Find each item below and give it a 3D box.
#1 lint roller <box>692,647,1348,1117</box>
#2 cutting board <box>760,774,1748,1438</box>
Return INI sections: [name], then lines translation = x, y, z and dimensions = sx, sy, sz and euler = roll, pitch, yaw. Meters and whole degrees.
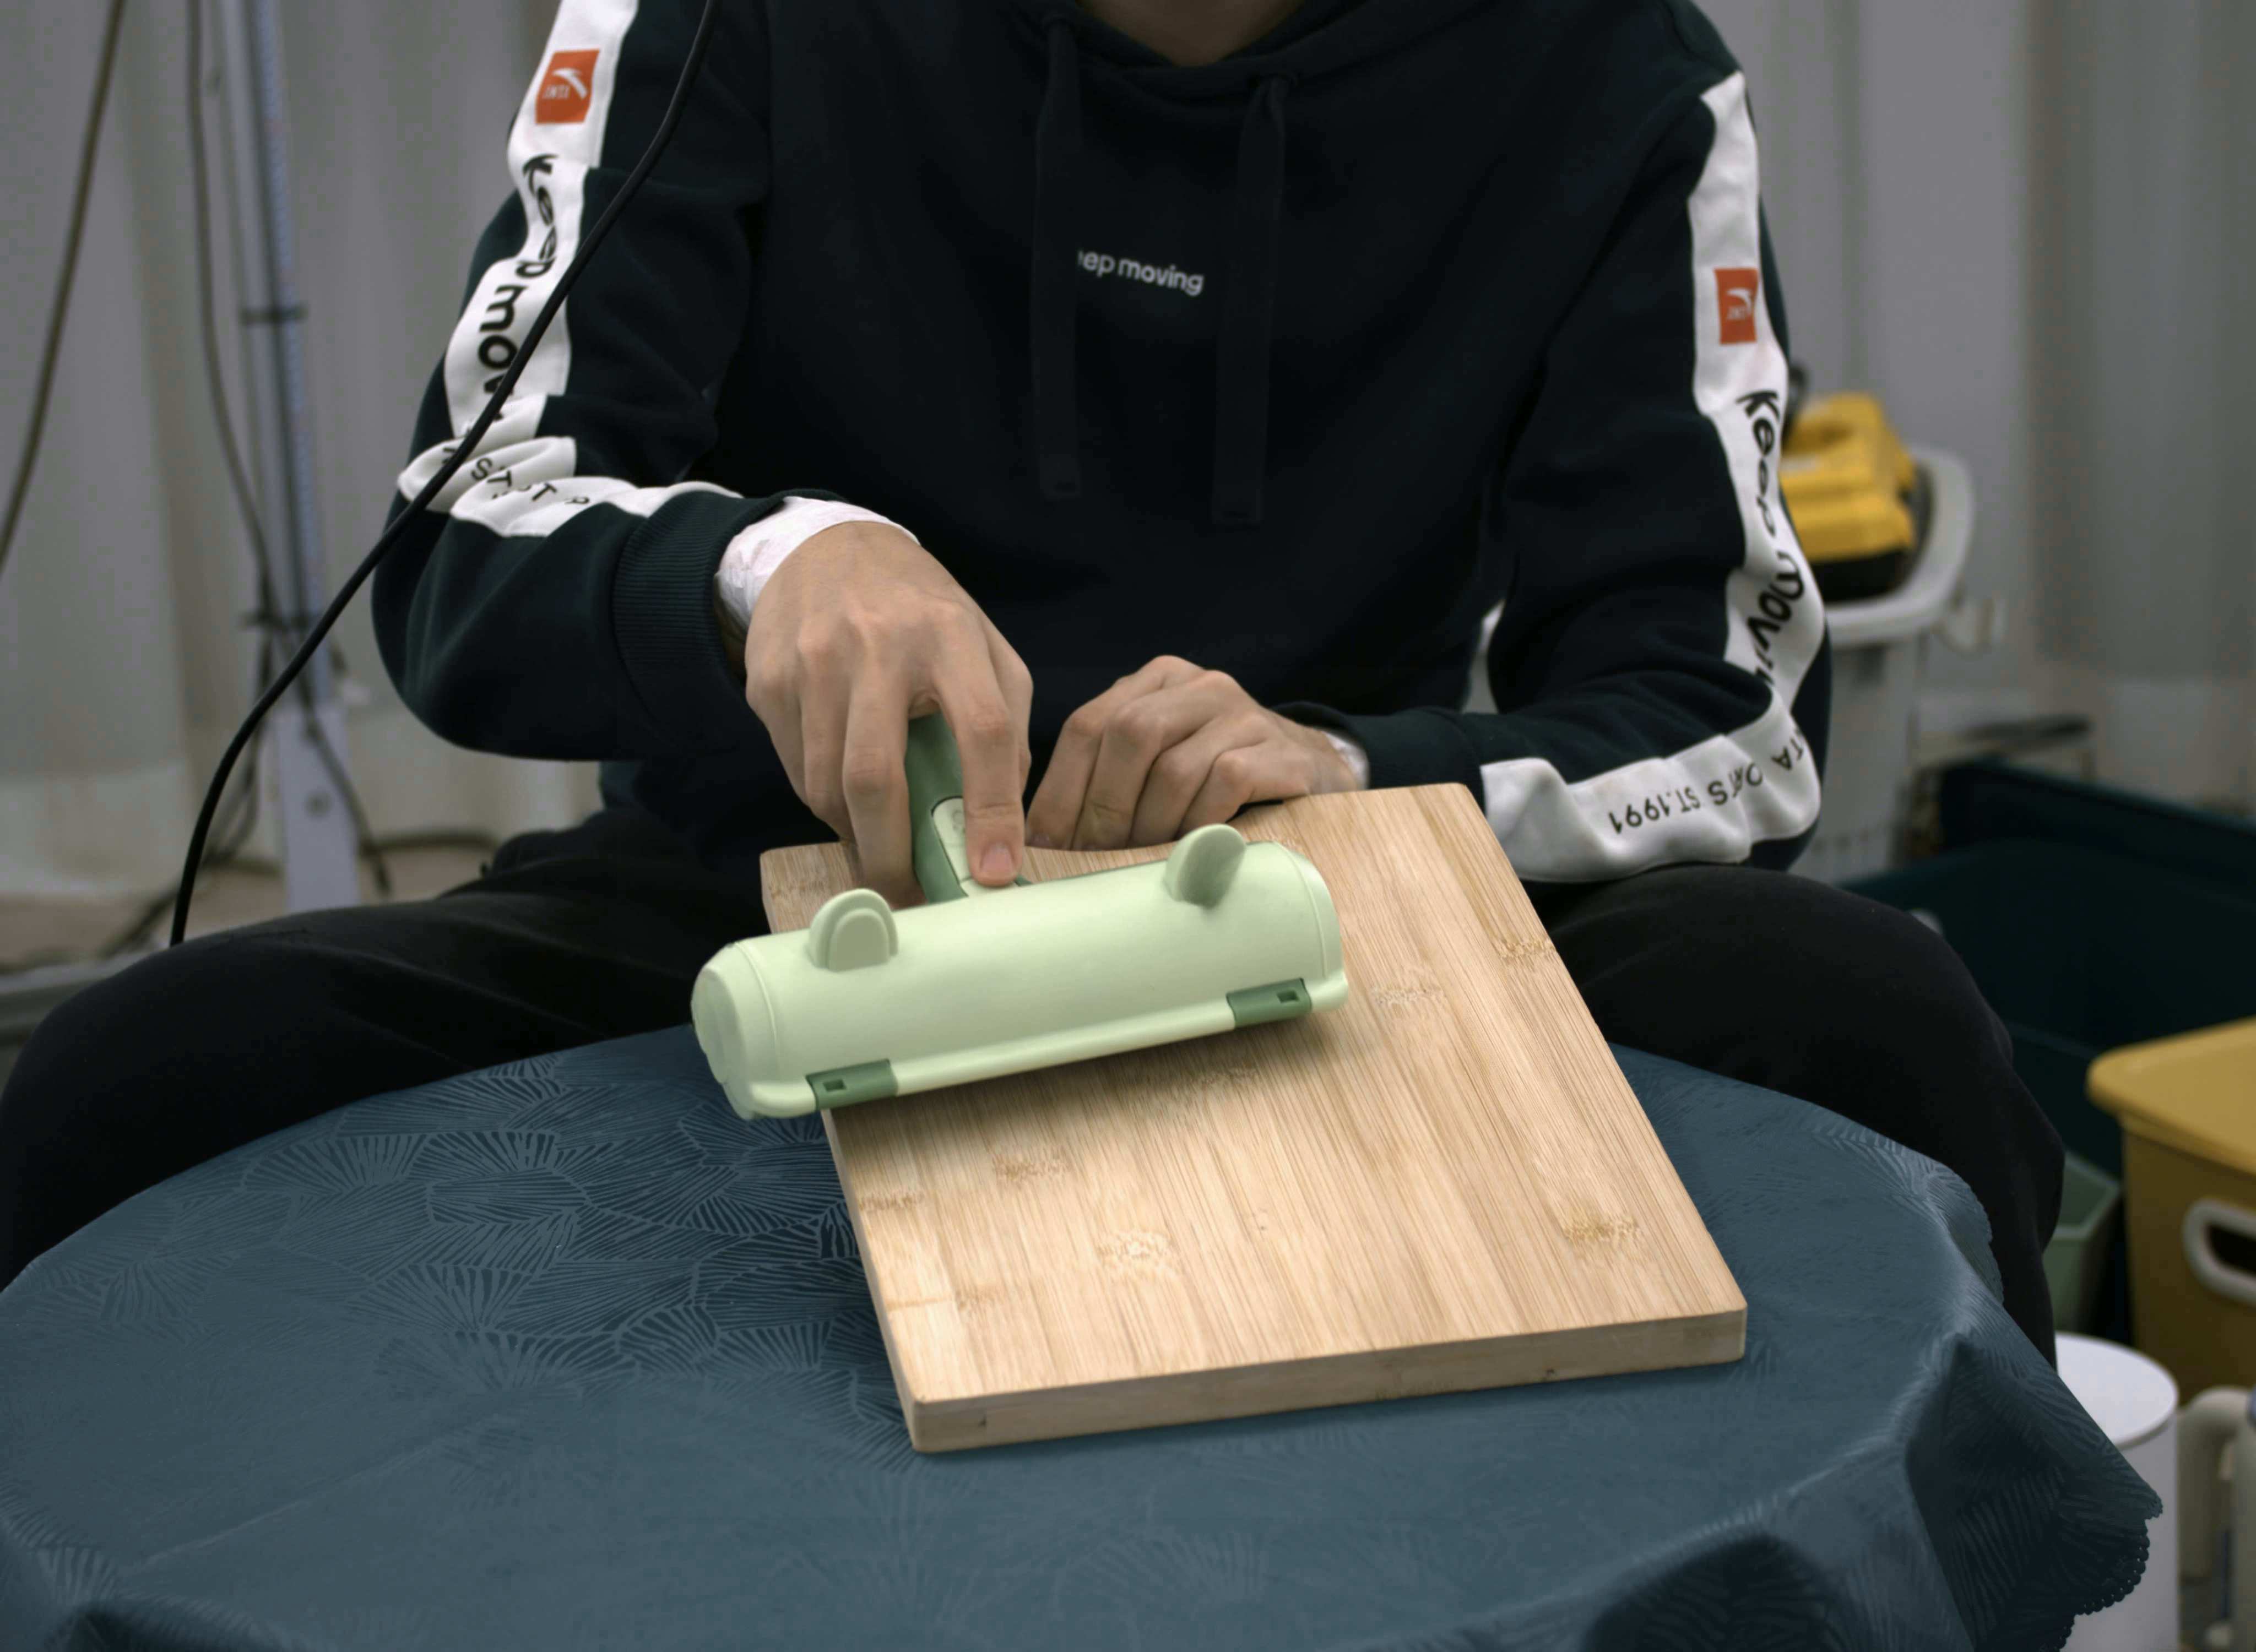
[lint roller]
translation = -0.050, -0.001, 1.683
dimensions = 0.198, 0.081, 0.186
euler = -10, 56, -20
[cutting board]
translation = 0.027, 0.078, 1.676
dimensions = 0.249, 0.023, 0.353
euler = -6, 27, -10
